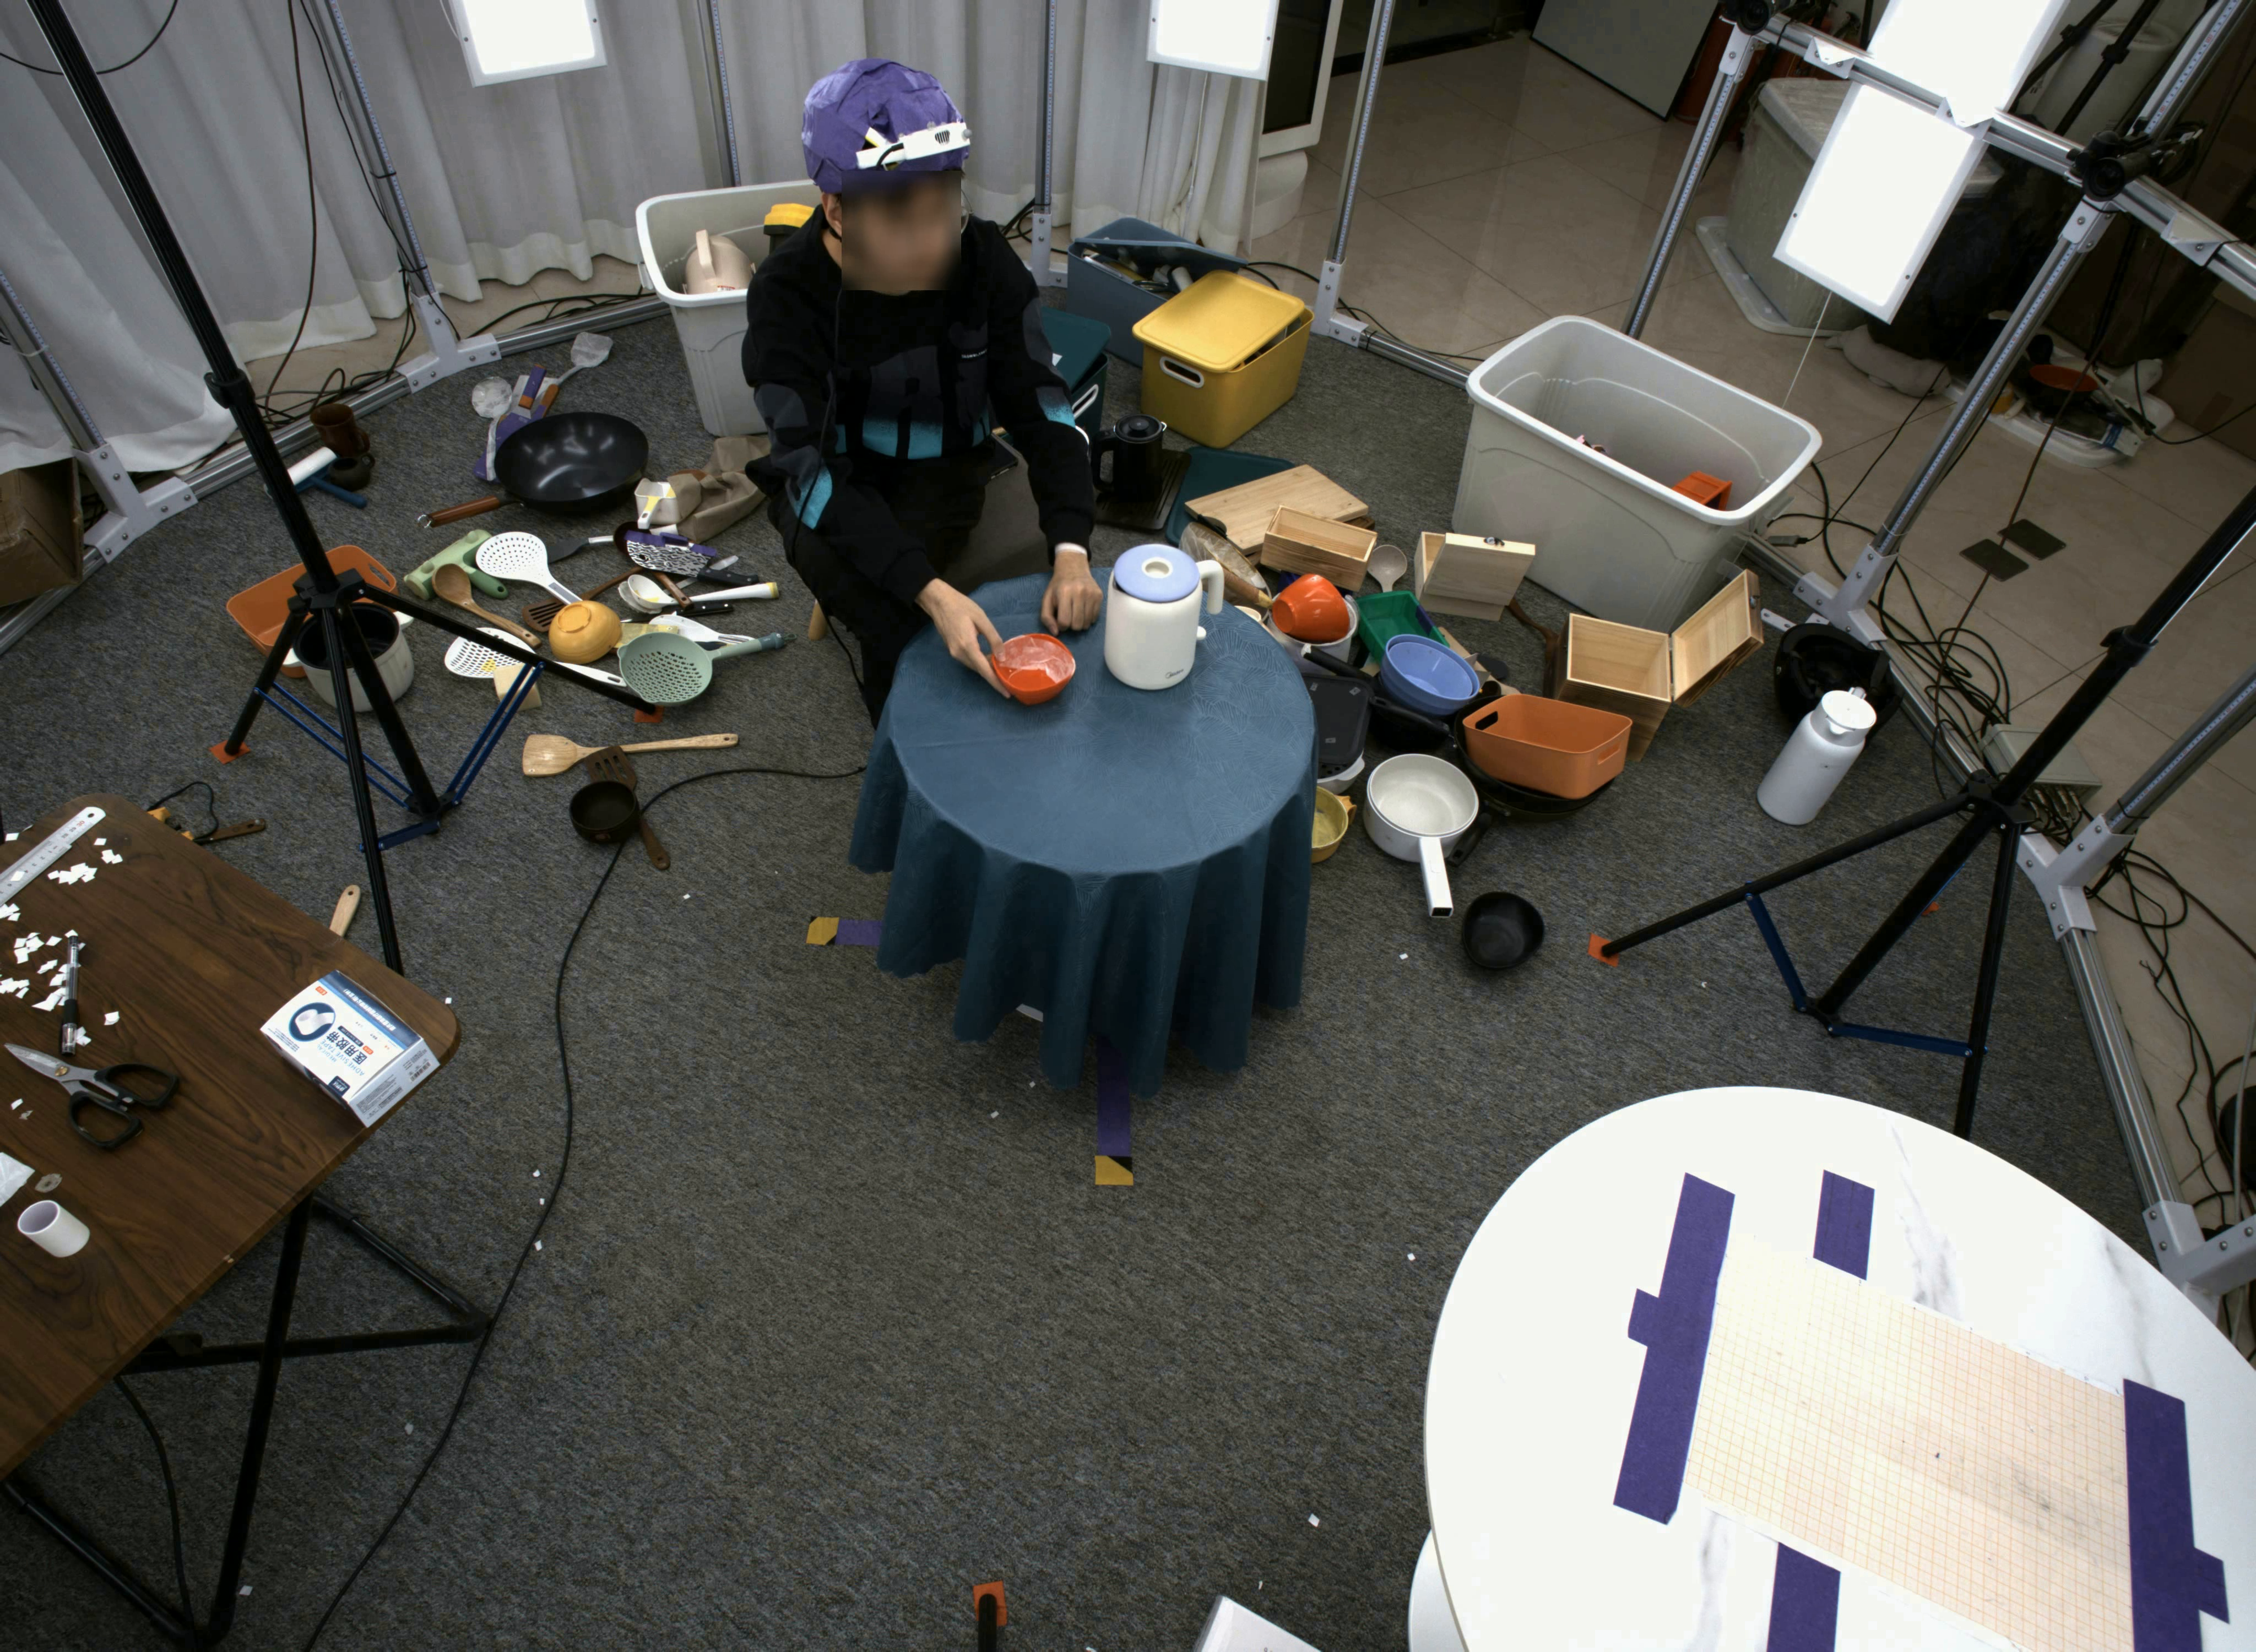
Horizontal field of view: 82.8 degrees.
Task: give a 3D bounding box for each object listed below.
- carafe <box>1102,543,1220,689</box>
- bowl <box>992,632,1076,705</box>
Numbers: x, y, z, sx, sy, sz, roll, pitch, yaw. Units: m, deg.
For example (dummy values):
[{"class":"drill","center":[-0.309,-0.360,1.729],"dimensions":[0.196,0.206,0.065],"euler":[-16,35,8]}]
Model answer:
[{"class":"carafe","center":[0.054,-0.305,1.827],"dimensions":[0.192,0.178,0.135],"euler":[-24,56,-25]},{"class":"bowl","center":[-0.133,-0.216,1.812],"dimensions":[0.119,0.050,0.122],"euler":[1,51,-2]}]
